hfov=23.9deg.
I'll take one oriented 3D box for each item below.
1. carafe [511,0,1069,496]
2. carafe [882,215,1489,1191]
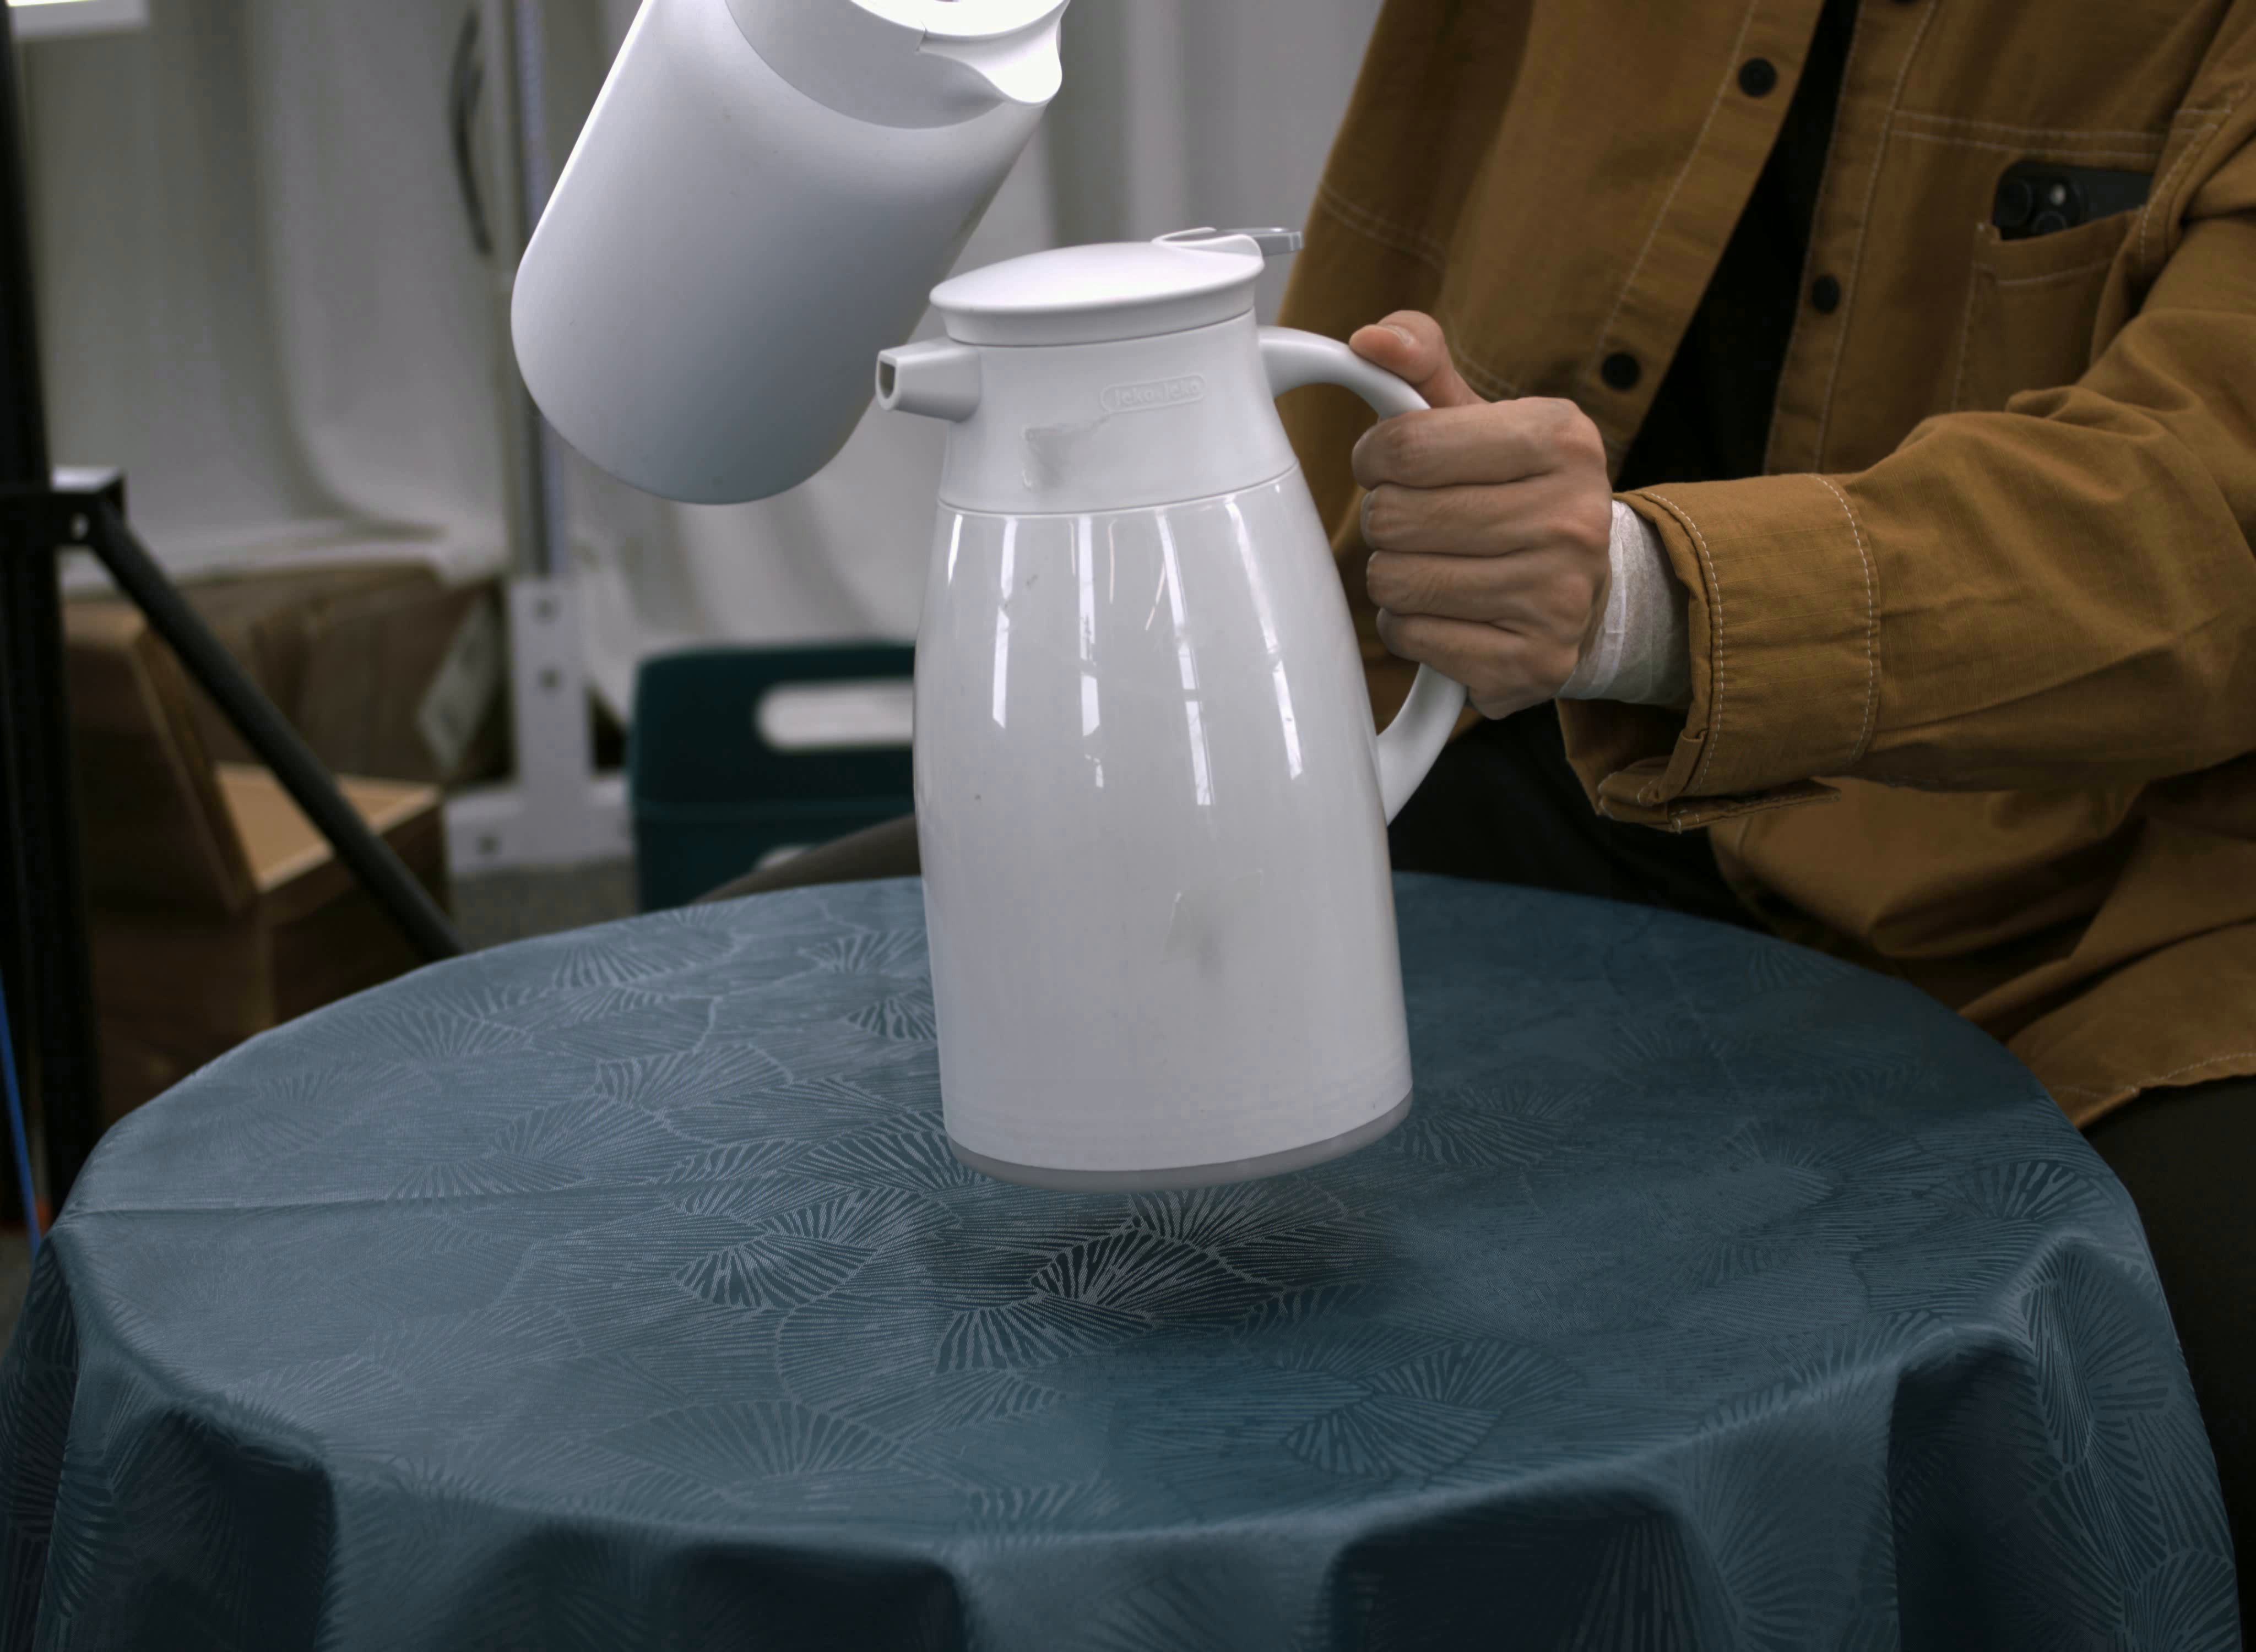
[{"bbox_3d":[-0.106,-0.221,1.581,0.121,0.175,0.270,-23,-15,-26],"label":"carafe"},{"bbox_3d":[0.021,-0.041,1.464,0.165,0.249,0.134,-9,13,-17],"label":"carafe"}]
